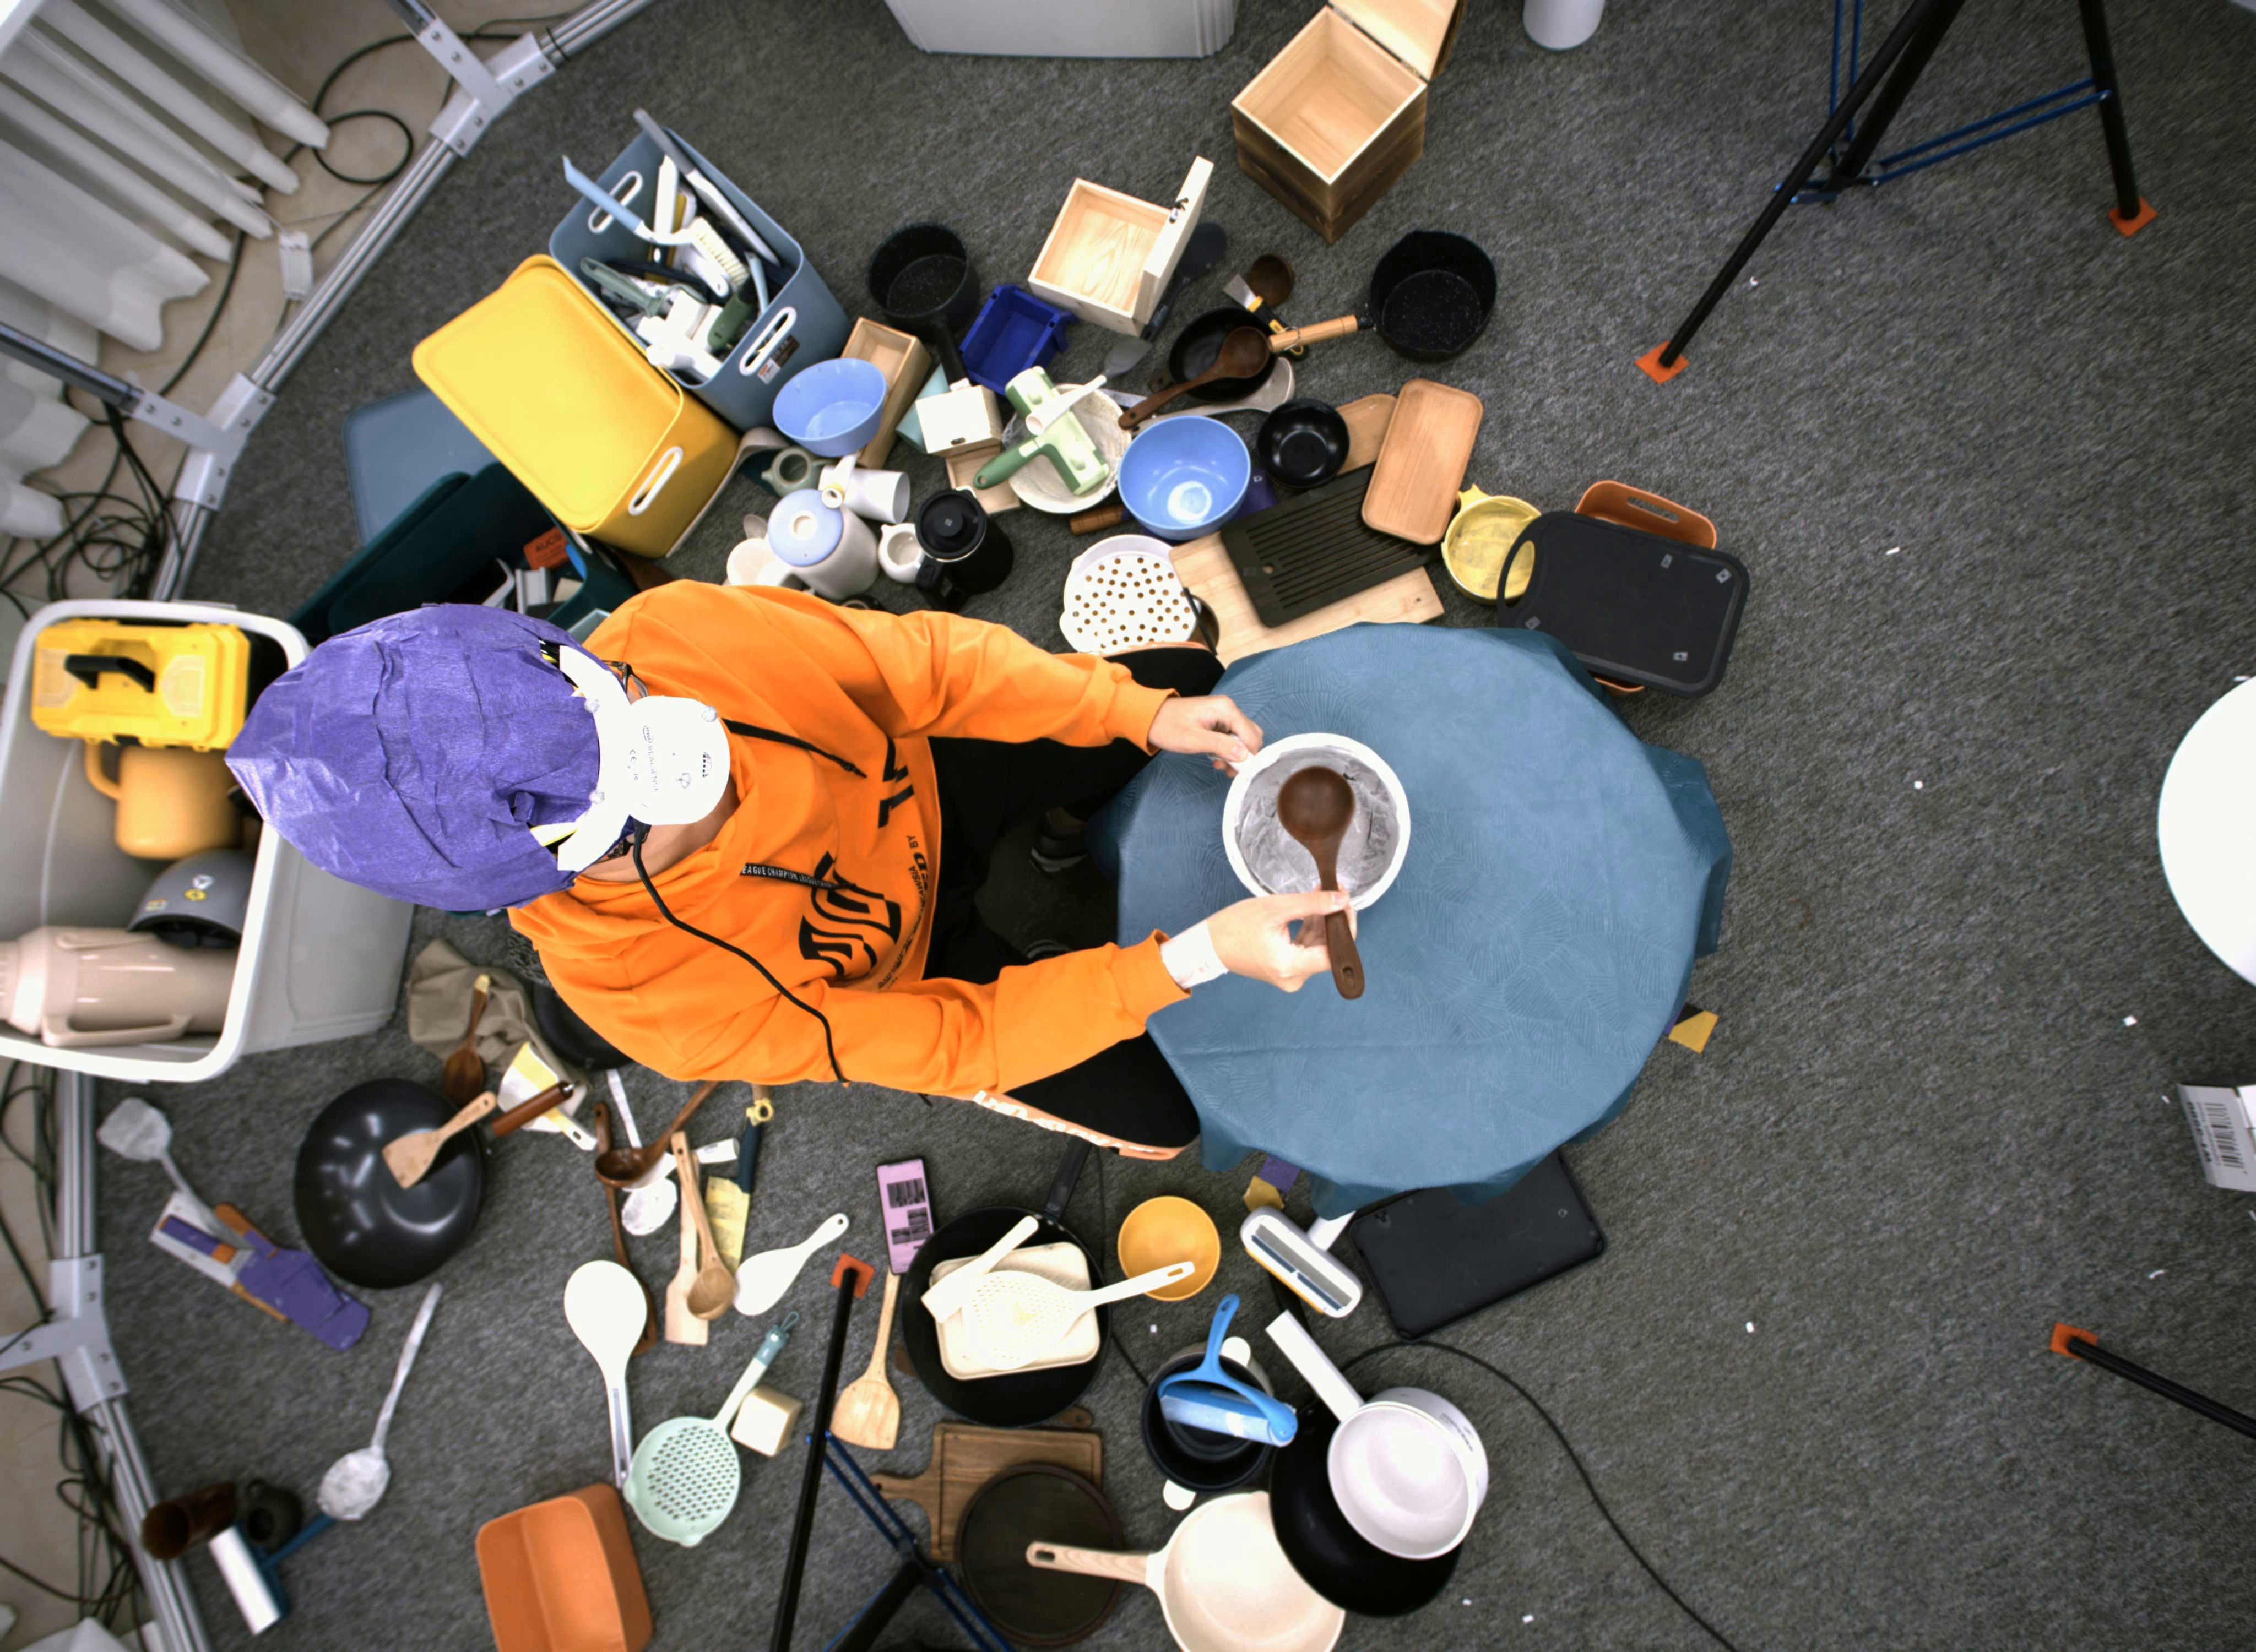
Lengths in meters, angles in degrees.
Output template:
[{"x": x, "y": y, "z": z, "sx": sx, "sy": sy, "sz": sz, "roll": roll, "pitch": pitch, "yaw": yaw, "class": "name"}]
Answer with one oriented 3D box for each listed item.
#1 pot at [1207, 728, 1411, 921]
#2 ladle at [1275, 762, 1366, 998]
[{"x": 0.168, "y": -0.014, "z": 1.372, "sx": 0.233, "sy": 0.136, "sz": 0.179, "roll": 42, "pitch": 94, "yaw": 10, "class": "pot"}, {"x": 0.179, "y": 0.041, "z": 1.242, "sx": 0.077, "sy": 0.066, "sz": 0.253, "roll": -20, "pitch": 38, "yaw": 17, "class": "ladle"}]
